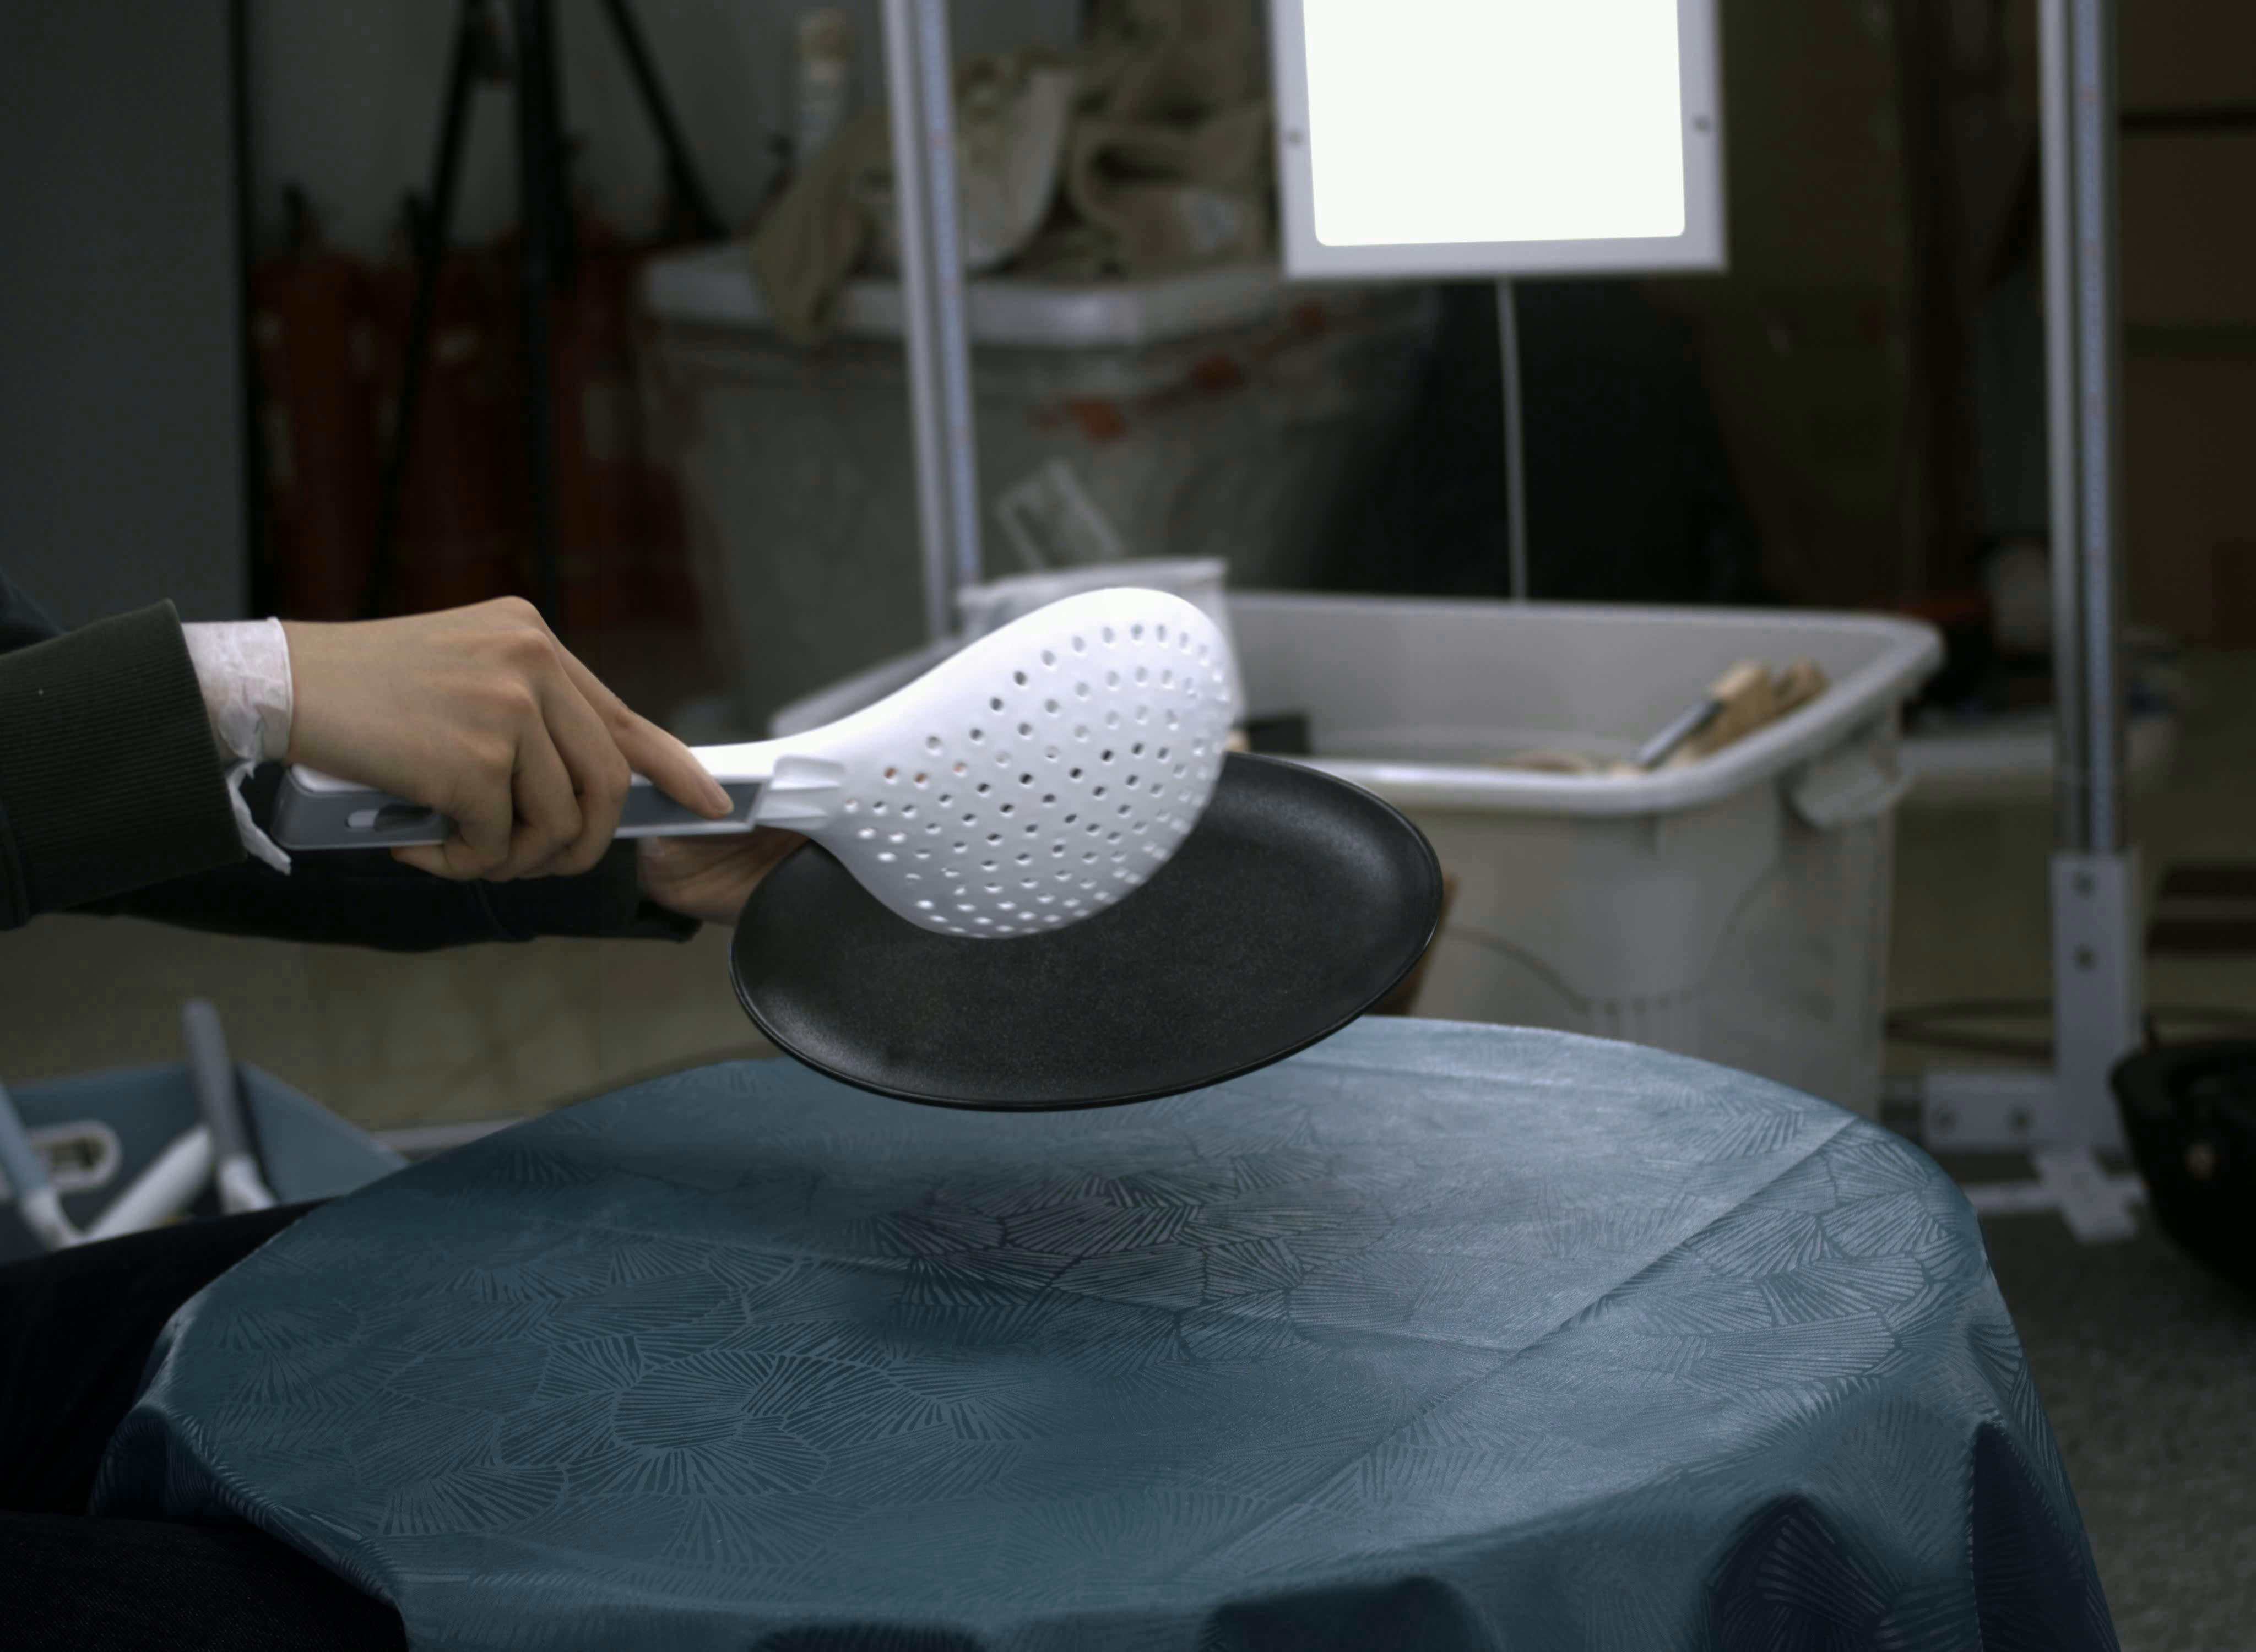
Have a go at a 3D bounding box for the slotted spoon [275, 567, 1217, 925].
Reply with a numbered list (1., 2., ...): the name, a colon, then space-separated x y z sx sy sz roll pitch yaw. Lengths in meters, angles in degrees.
1. slotted spoon: -0.106 -0.017 1.681 0.341 0.138 0.046 1 35 -35

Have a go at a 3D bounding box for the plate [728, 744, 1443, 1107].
1. plate: -0.014 0.038 1.858 0.244 0.023 0.244 -7 28 2
